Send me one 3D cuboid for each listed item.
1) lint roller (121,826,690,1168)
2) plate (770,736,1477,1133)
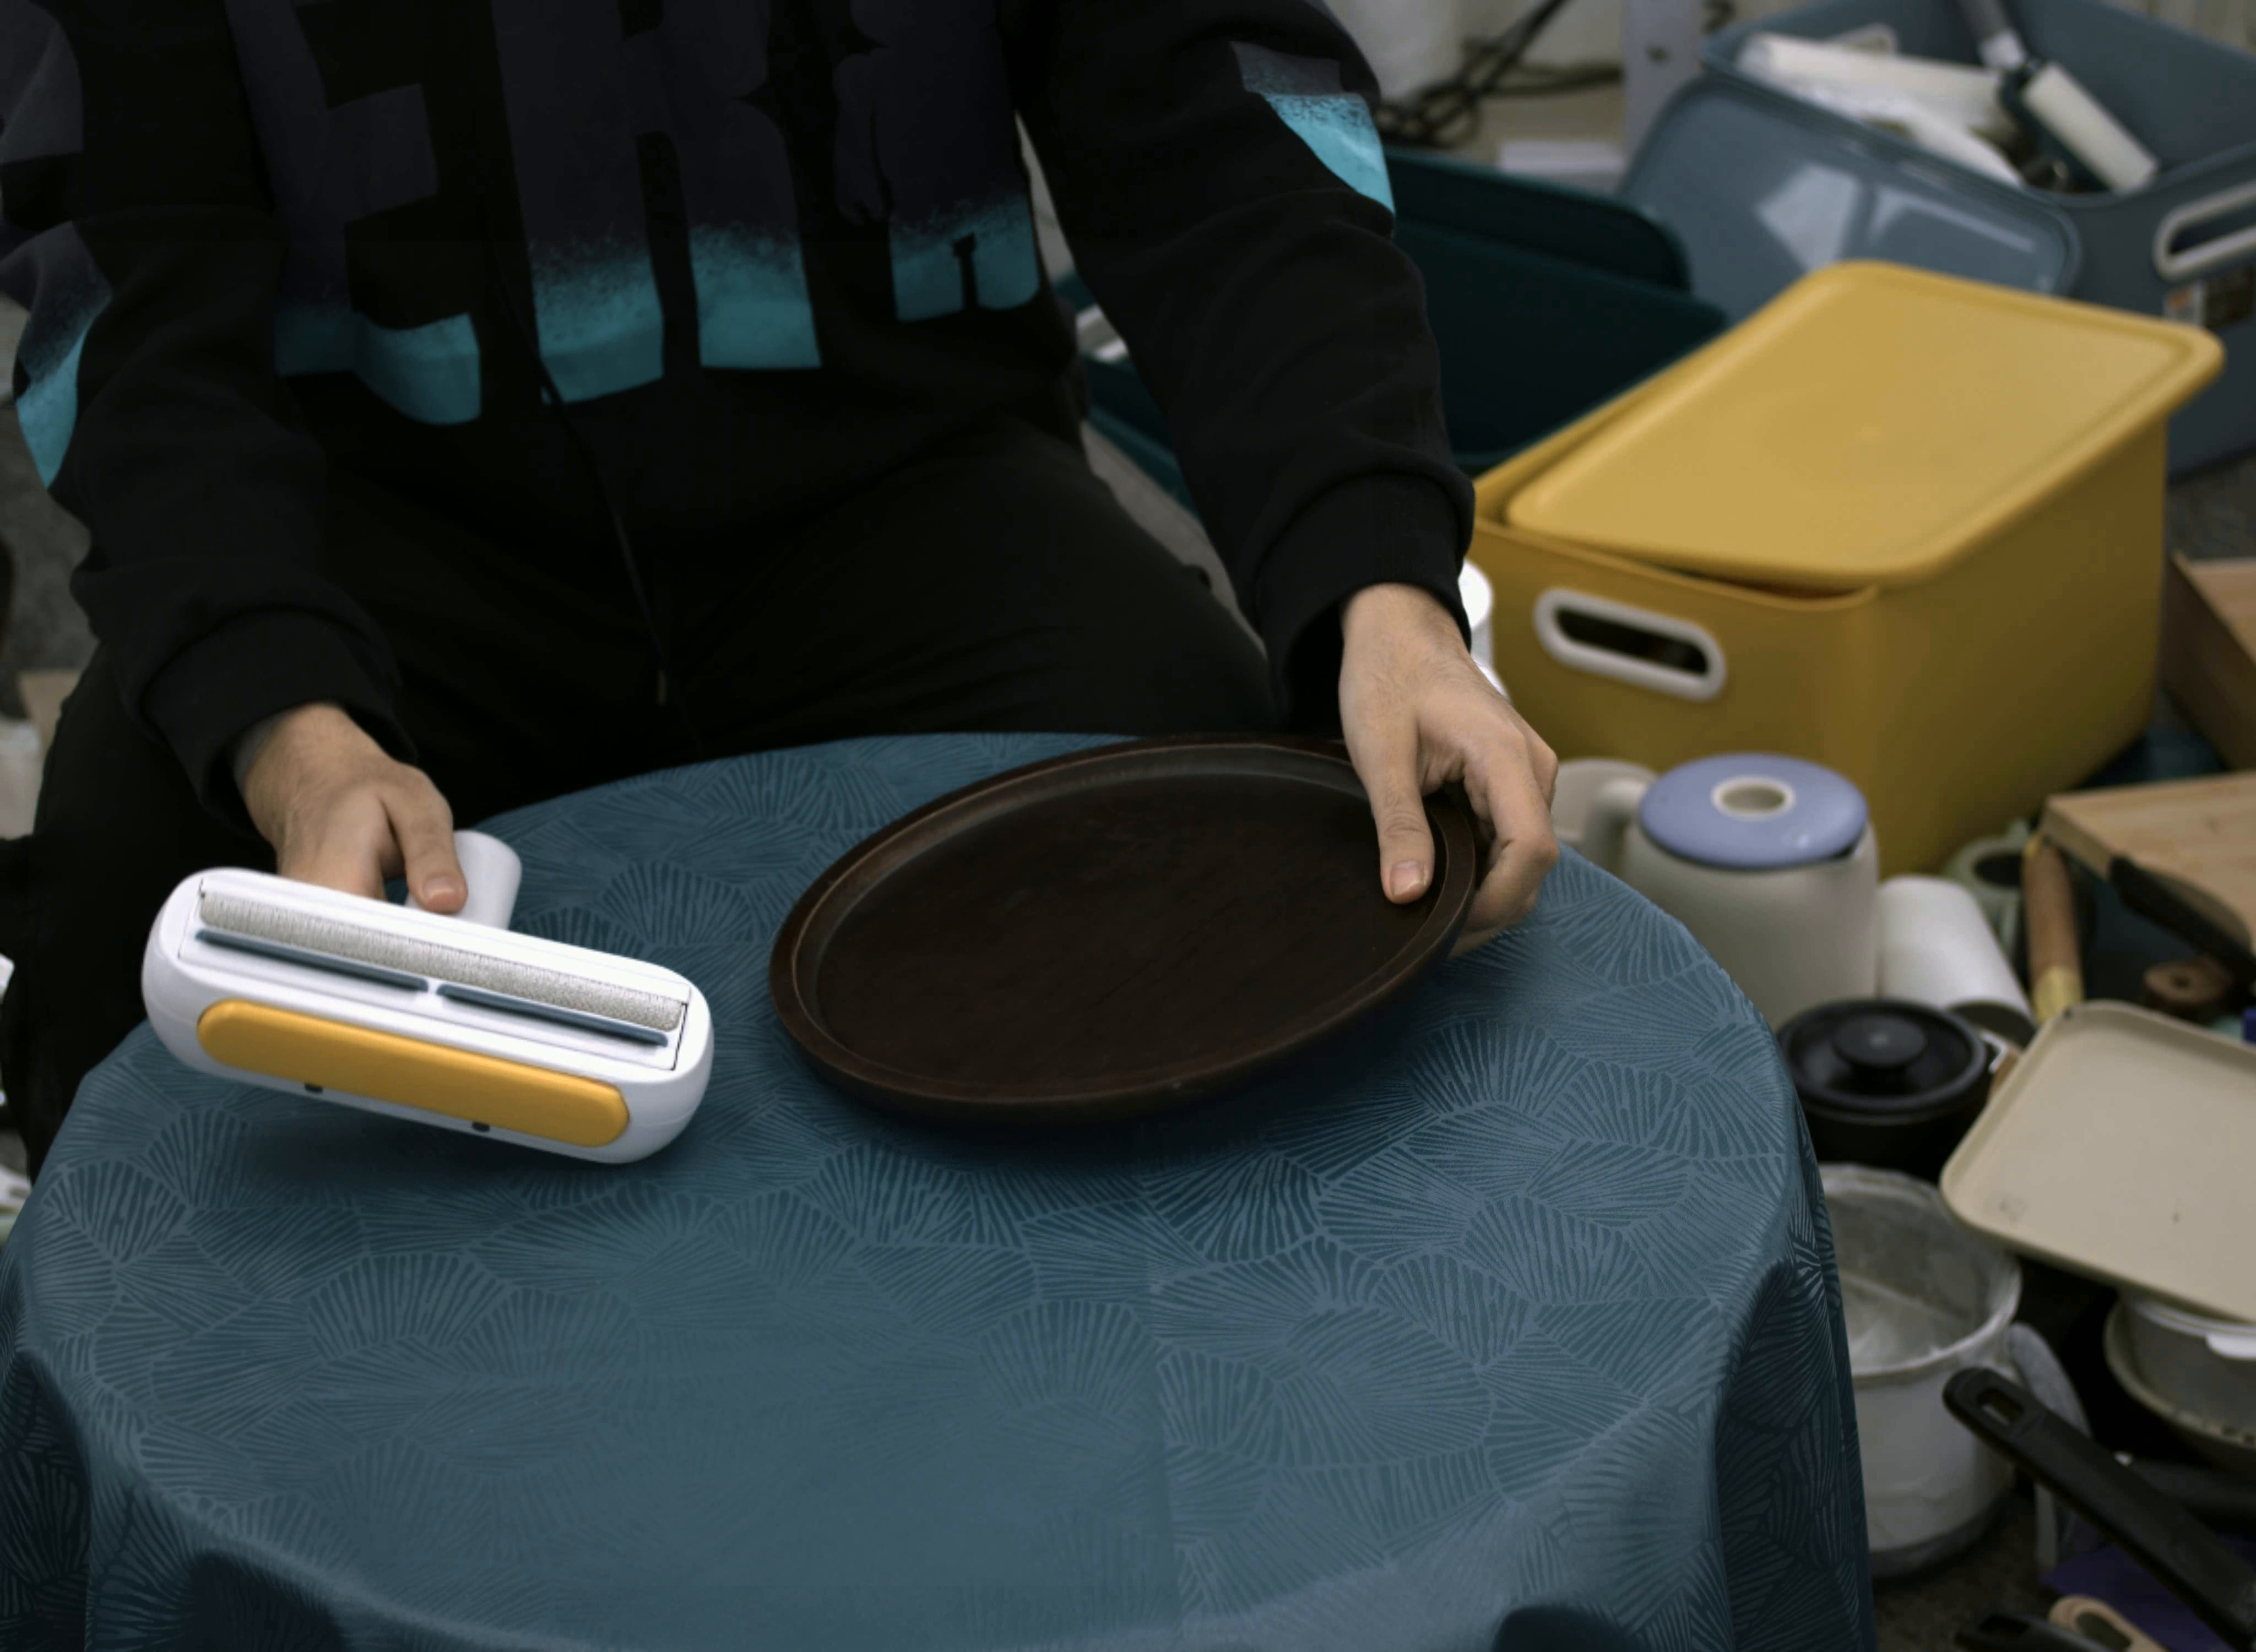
[{"bbox_3d":[-0.237,0.040,1.942,0.192,0.073,0.196,12,30,0],"label":"lint roller"},{"bbox_3d":[-0.001,0.037,1.967,0.253,0.029,0.258,-10,25,5],"label":"plate"}]
